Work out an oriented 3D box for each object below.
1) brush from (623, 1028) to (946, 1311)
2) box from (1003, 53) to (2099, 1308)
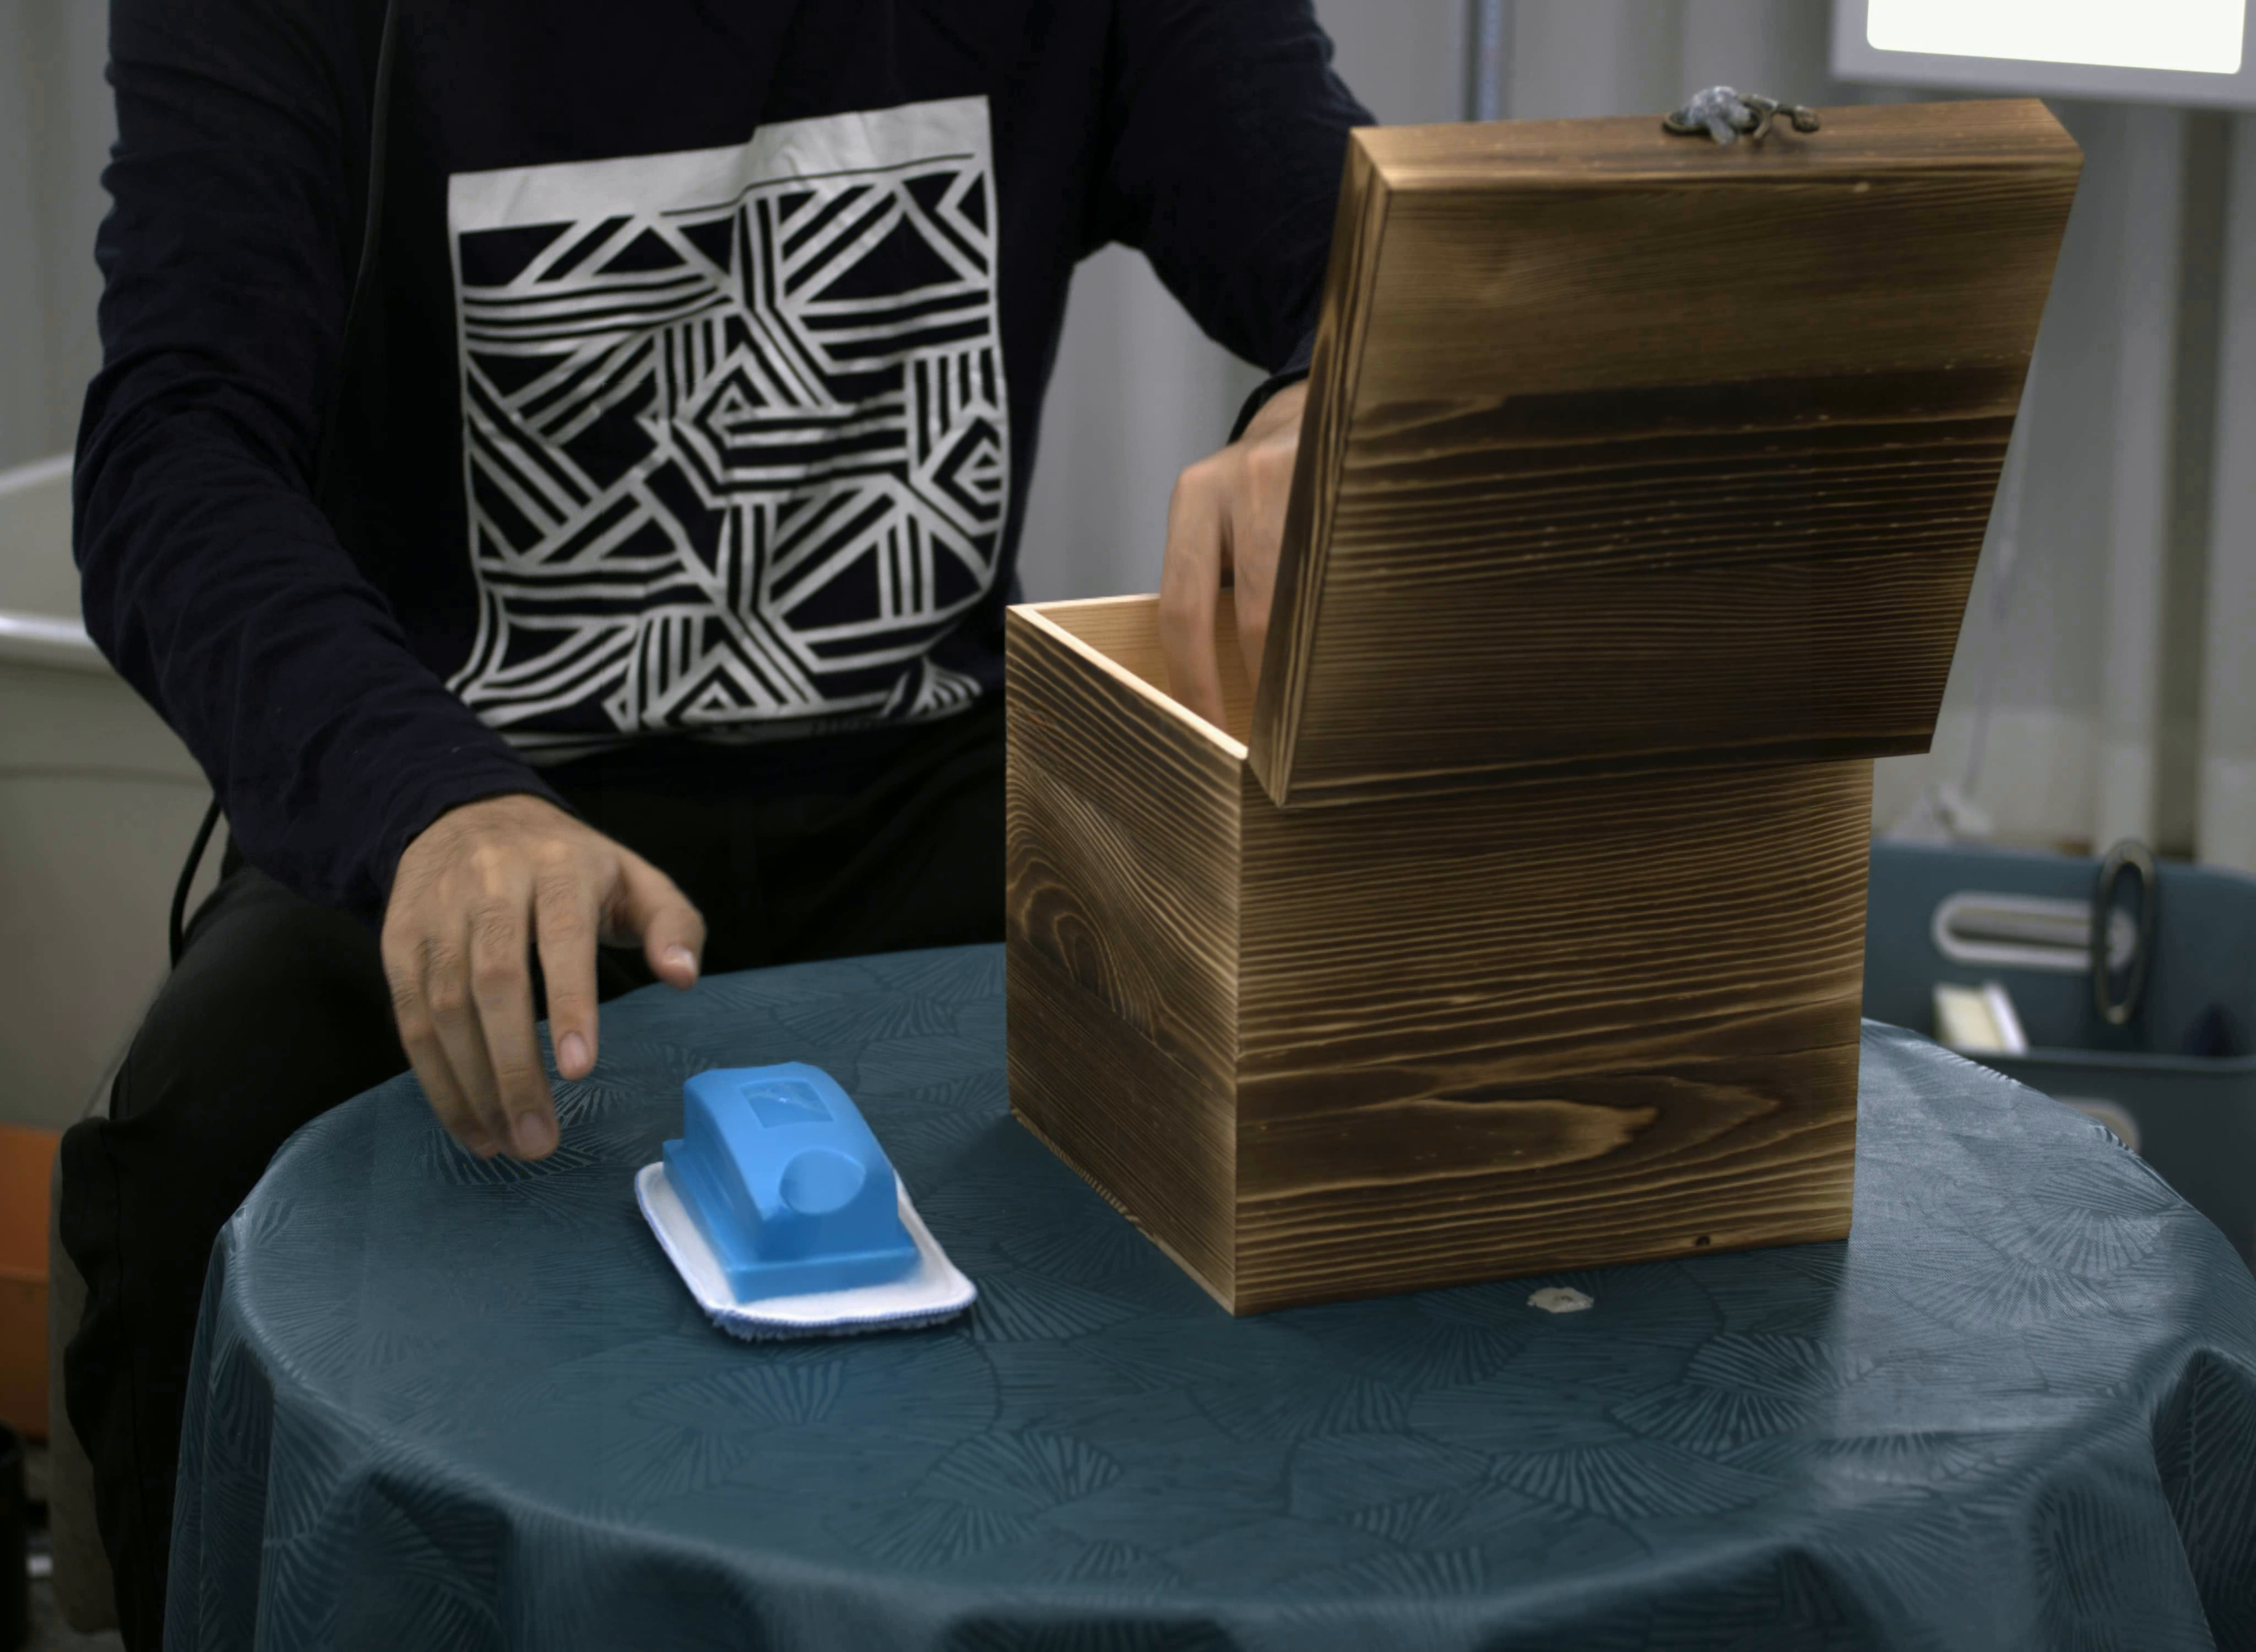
[{"bbox_3d":[-0.101,0.099,1.558,0.084,0.056,0.142,0,17,-14],"label":"brush"},{"bbox_3d":[0.111,-0.054,1.549,0.209,0.378,0.318,-5,17,-20],"label":"box"}]
